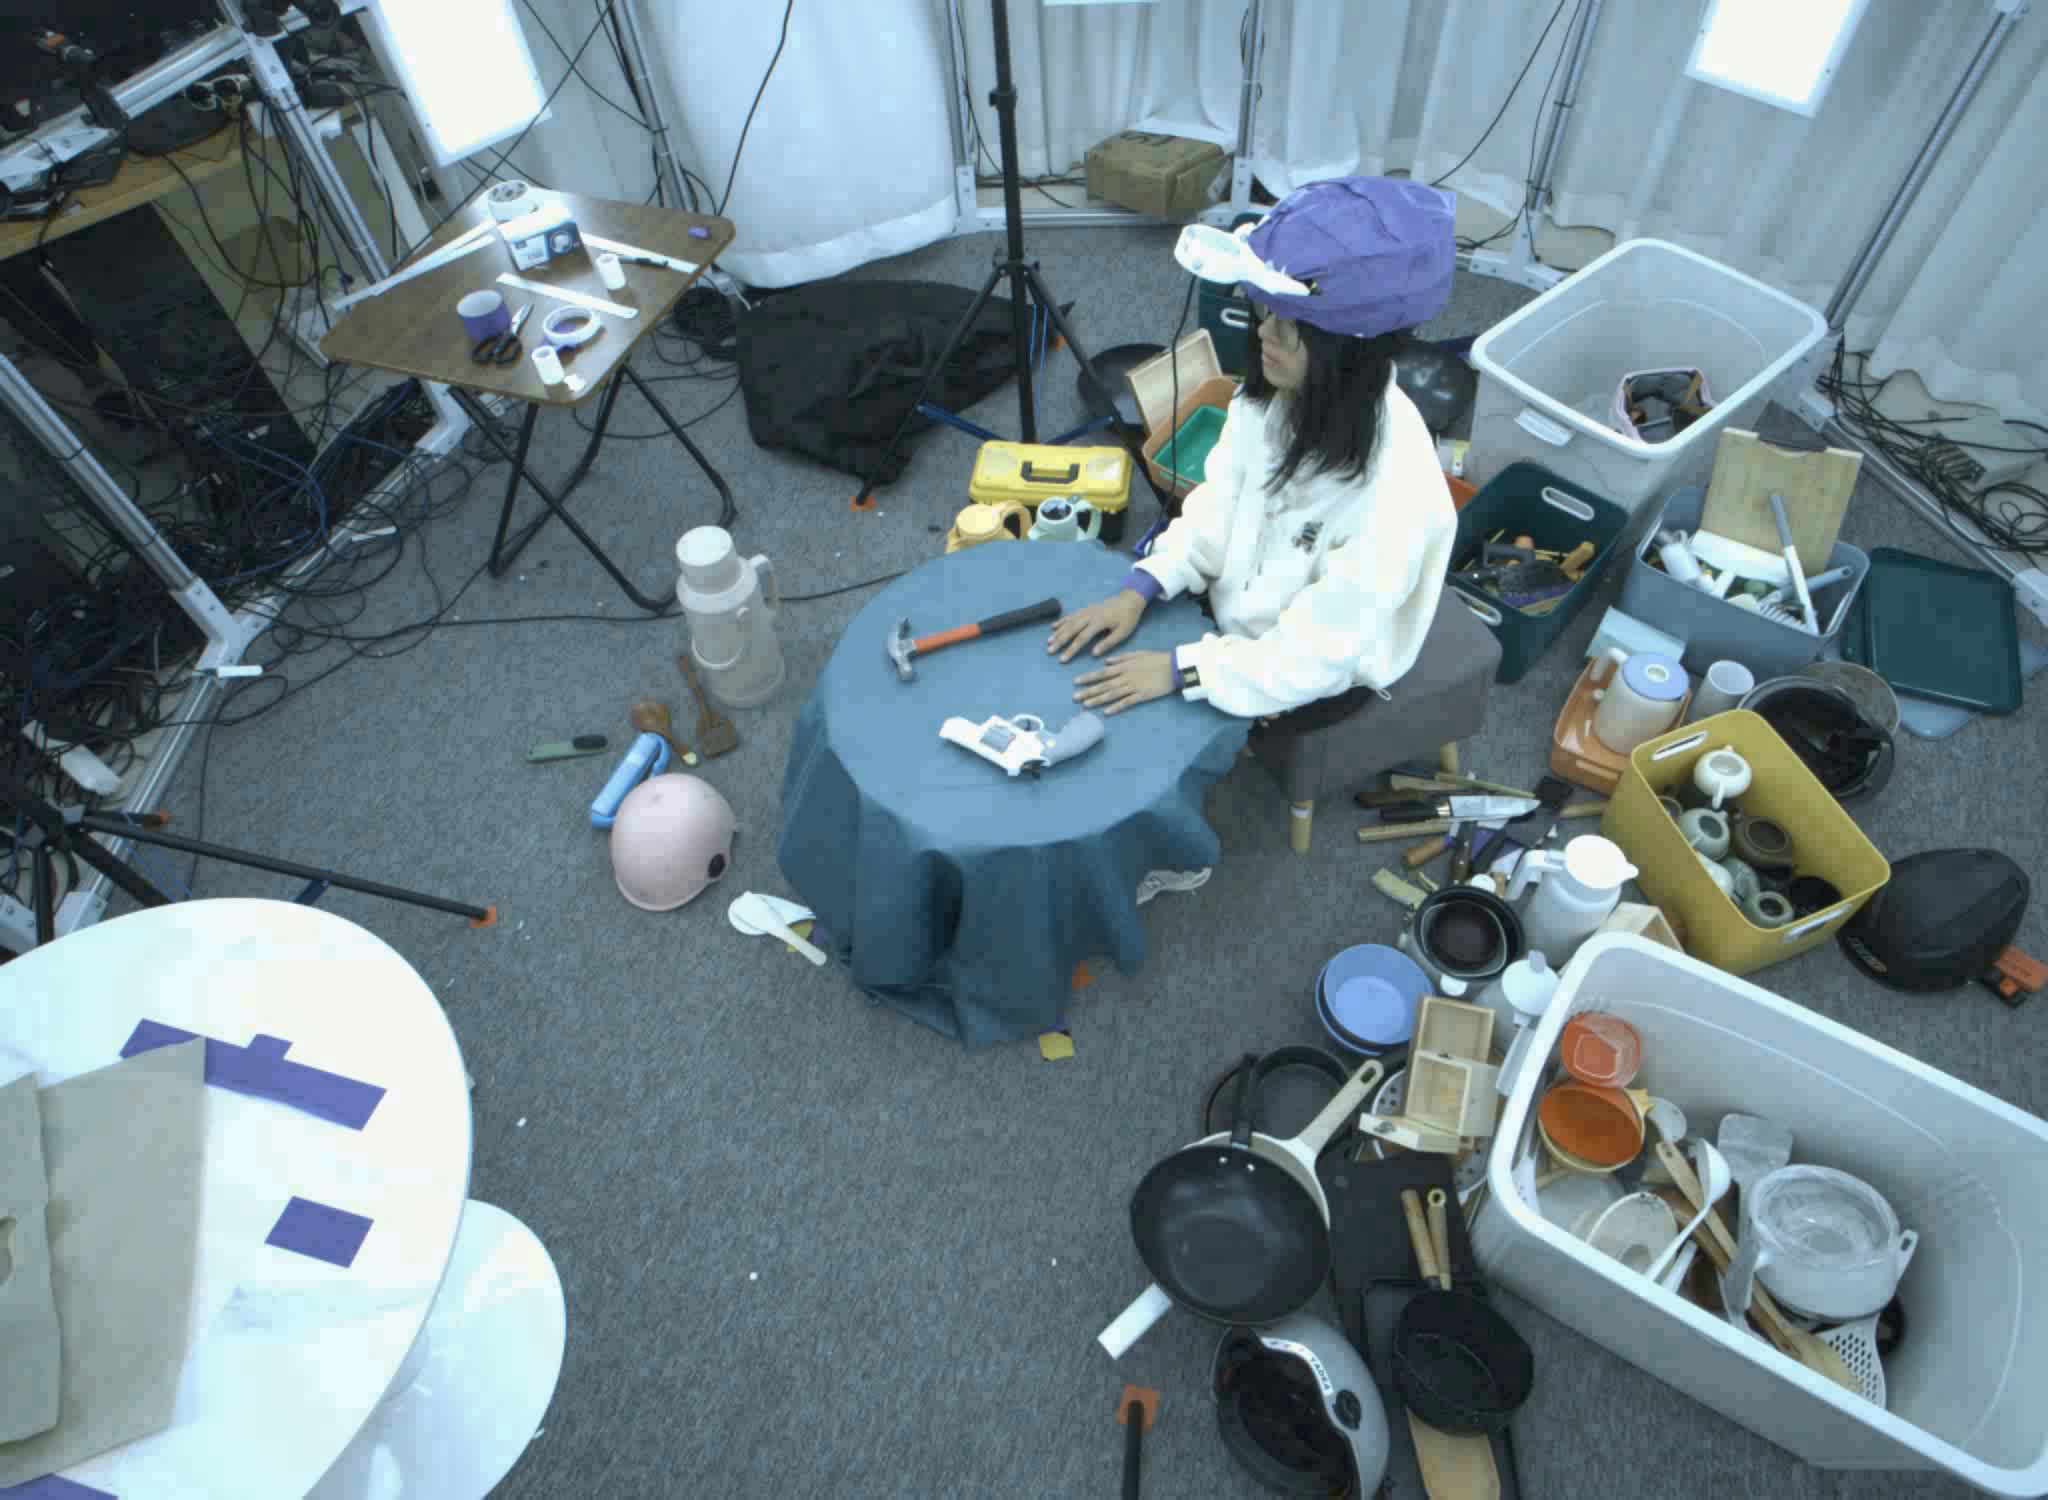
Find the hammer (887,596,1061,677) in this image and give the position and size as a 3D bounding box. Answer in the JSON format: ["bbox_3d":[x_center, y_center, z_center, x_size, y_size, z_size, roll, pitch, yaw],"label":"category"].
[{"bbox_3d":[-0.077,-0.192,1.908,0.279,0.026,0.108,-17,47,-10],"label":"hammer"}]

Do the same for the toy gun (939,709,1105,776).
[{"bbox_3d":[-0.002,-0.028,1.783,0.206,0.039,0.142,25,61,19],"label":"toy gun"}]
